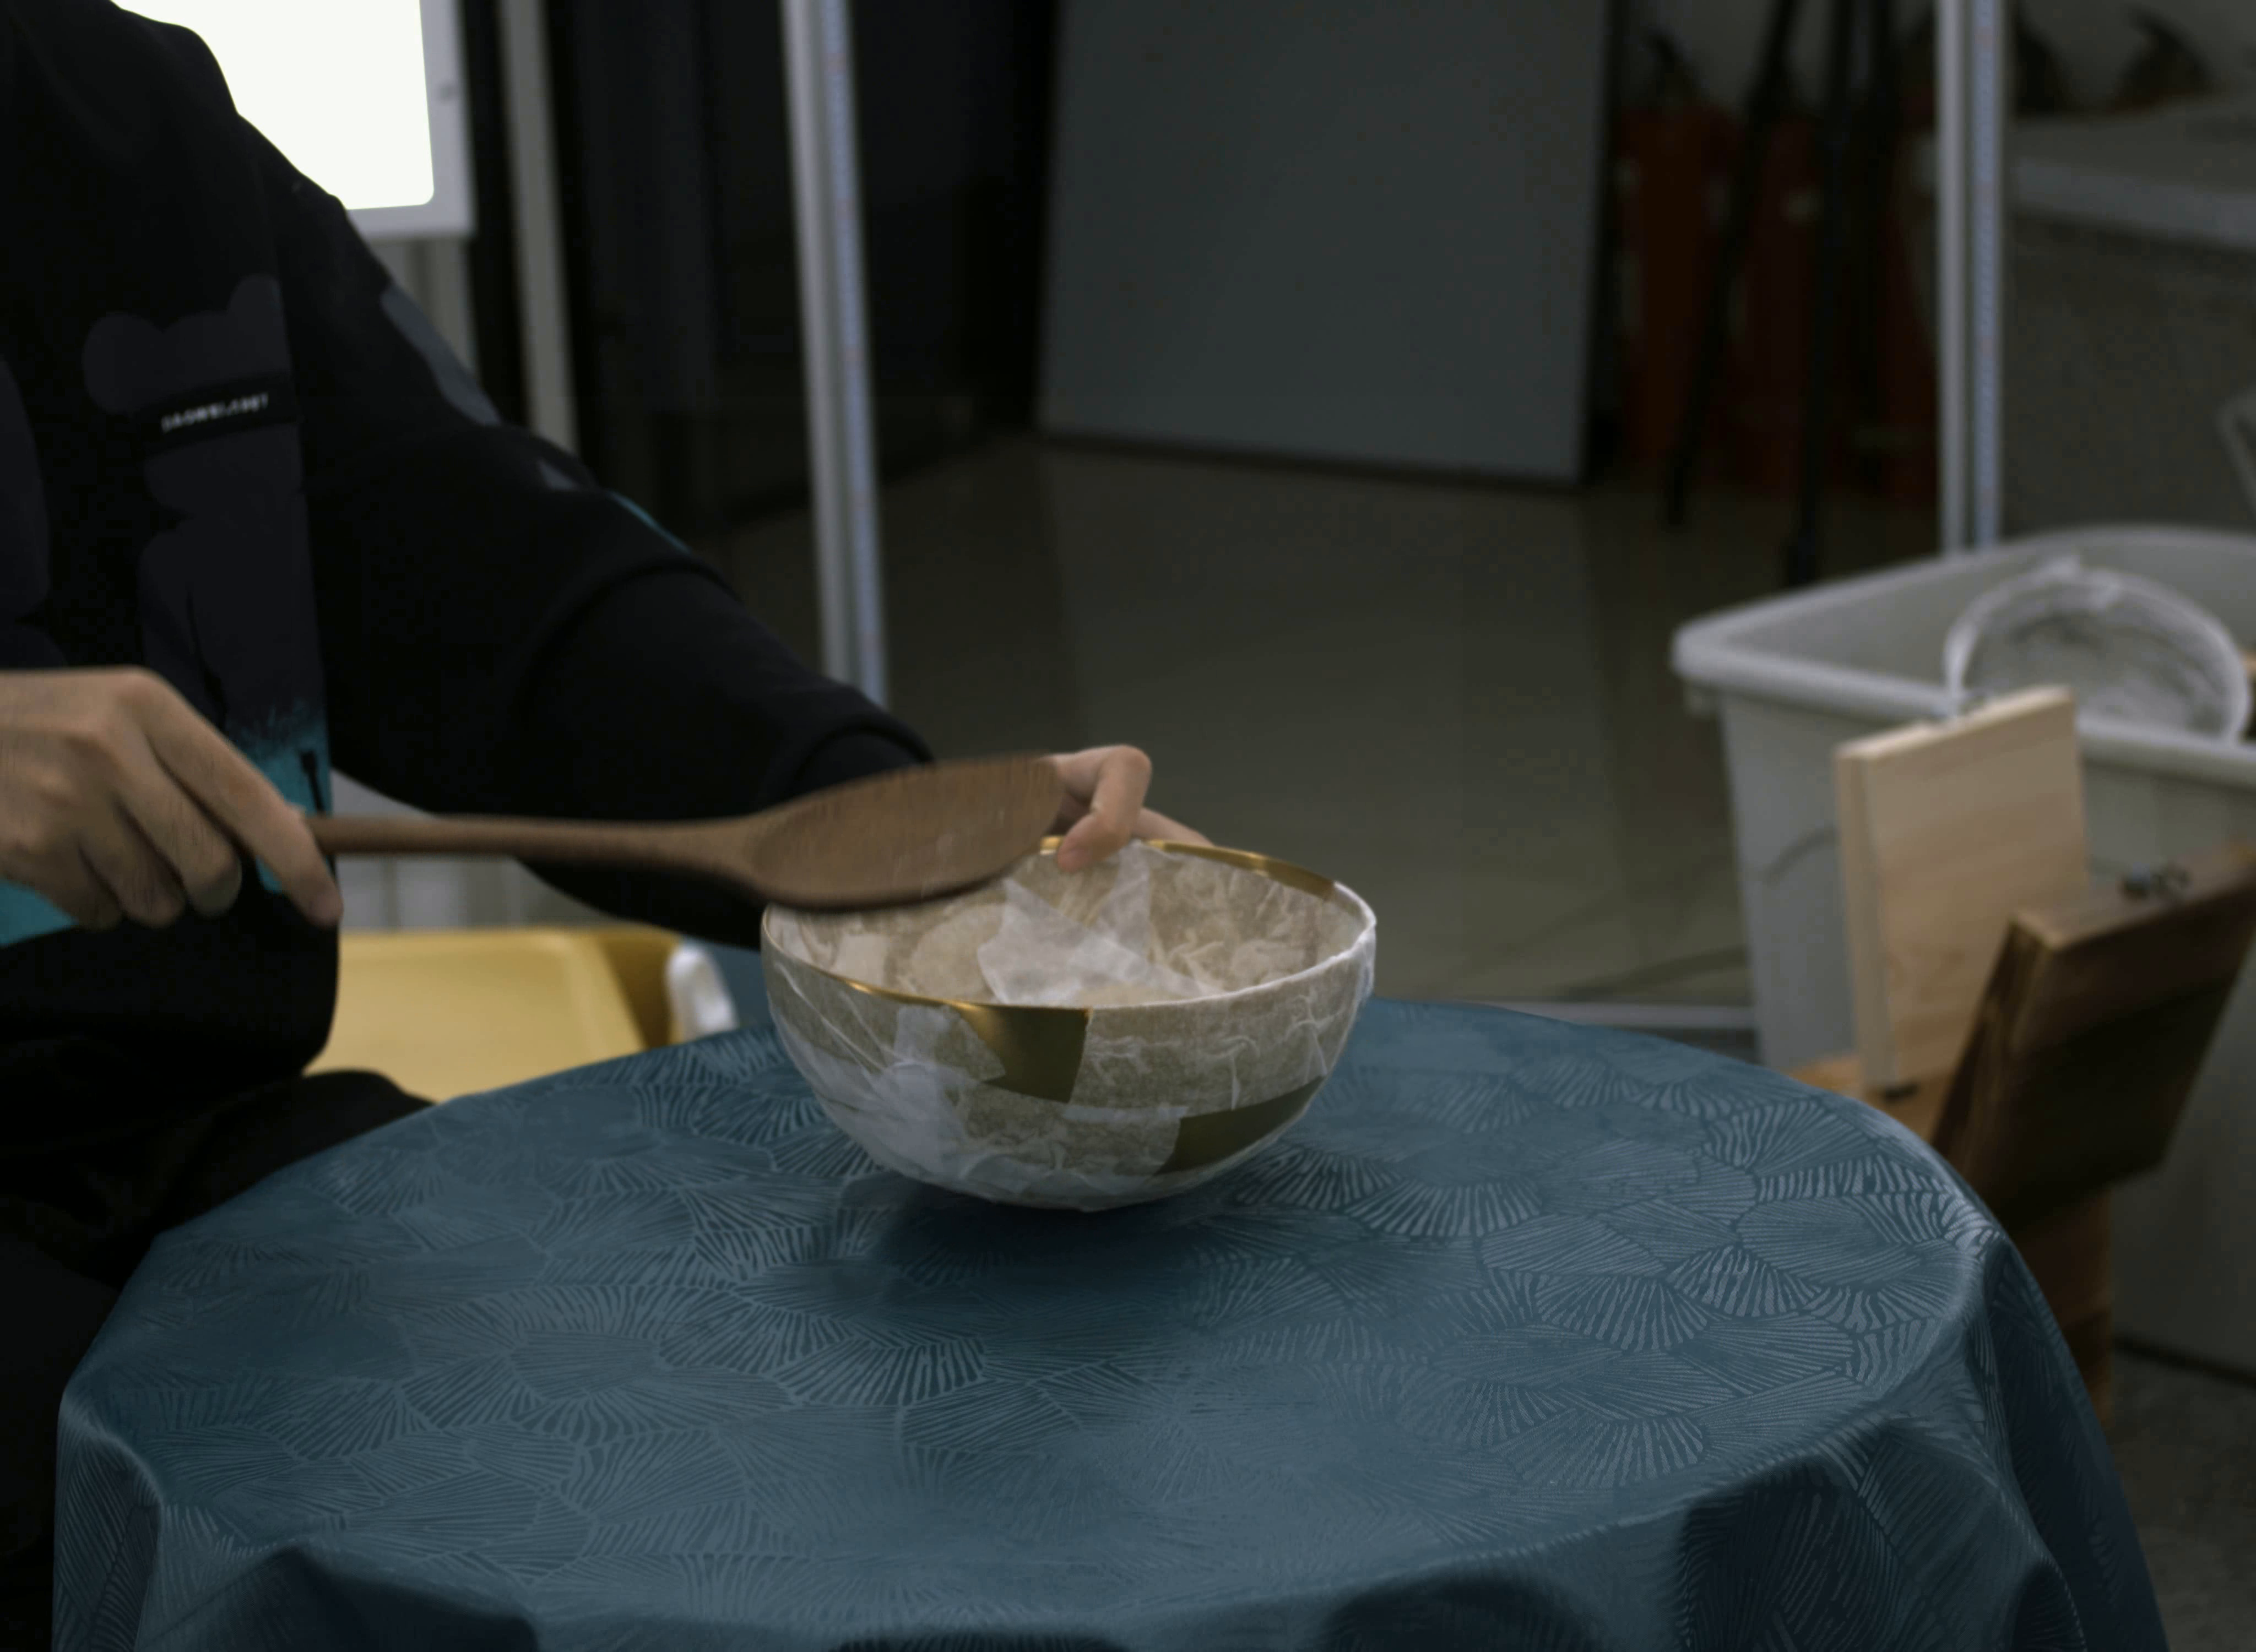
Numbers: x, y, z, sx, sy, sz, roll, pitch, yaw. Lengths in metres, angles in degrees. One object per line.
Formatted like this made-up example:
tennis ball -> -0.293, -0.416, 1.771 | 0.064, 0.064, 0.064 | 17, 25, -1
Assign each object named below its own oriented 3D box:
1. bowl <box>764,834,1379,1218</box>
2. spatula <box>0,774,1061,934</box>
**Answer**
bowl -> -0.019, 0.071, 1.760 | 0.212, 0.095, 0.215 | -3, 15, 0
spatula -> -0.205, 0.009, 1.640 | 0.385, 0.016, 0.095 | 0, 25, 19
